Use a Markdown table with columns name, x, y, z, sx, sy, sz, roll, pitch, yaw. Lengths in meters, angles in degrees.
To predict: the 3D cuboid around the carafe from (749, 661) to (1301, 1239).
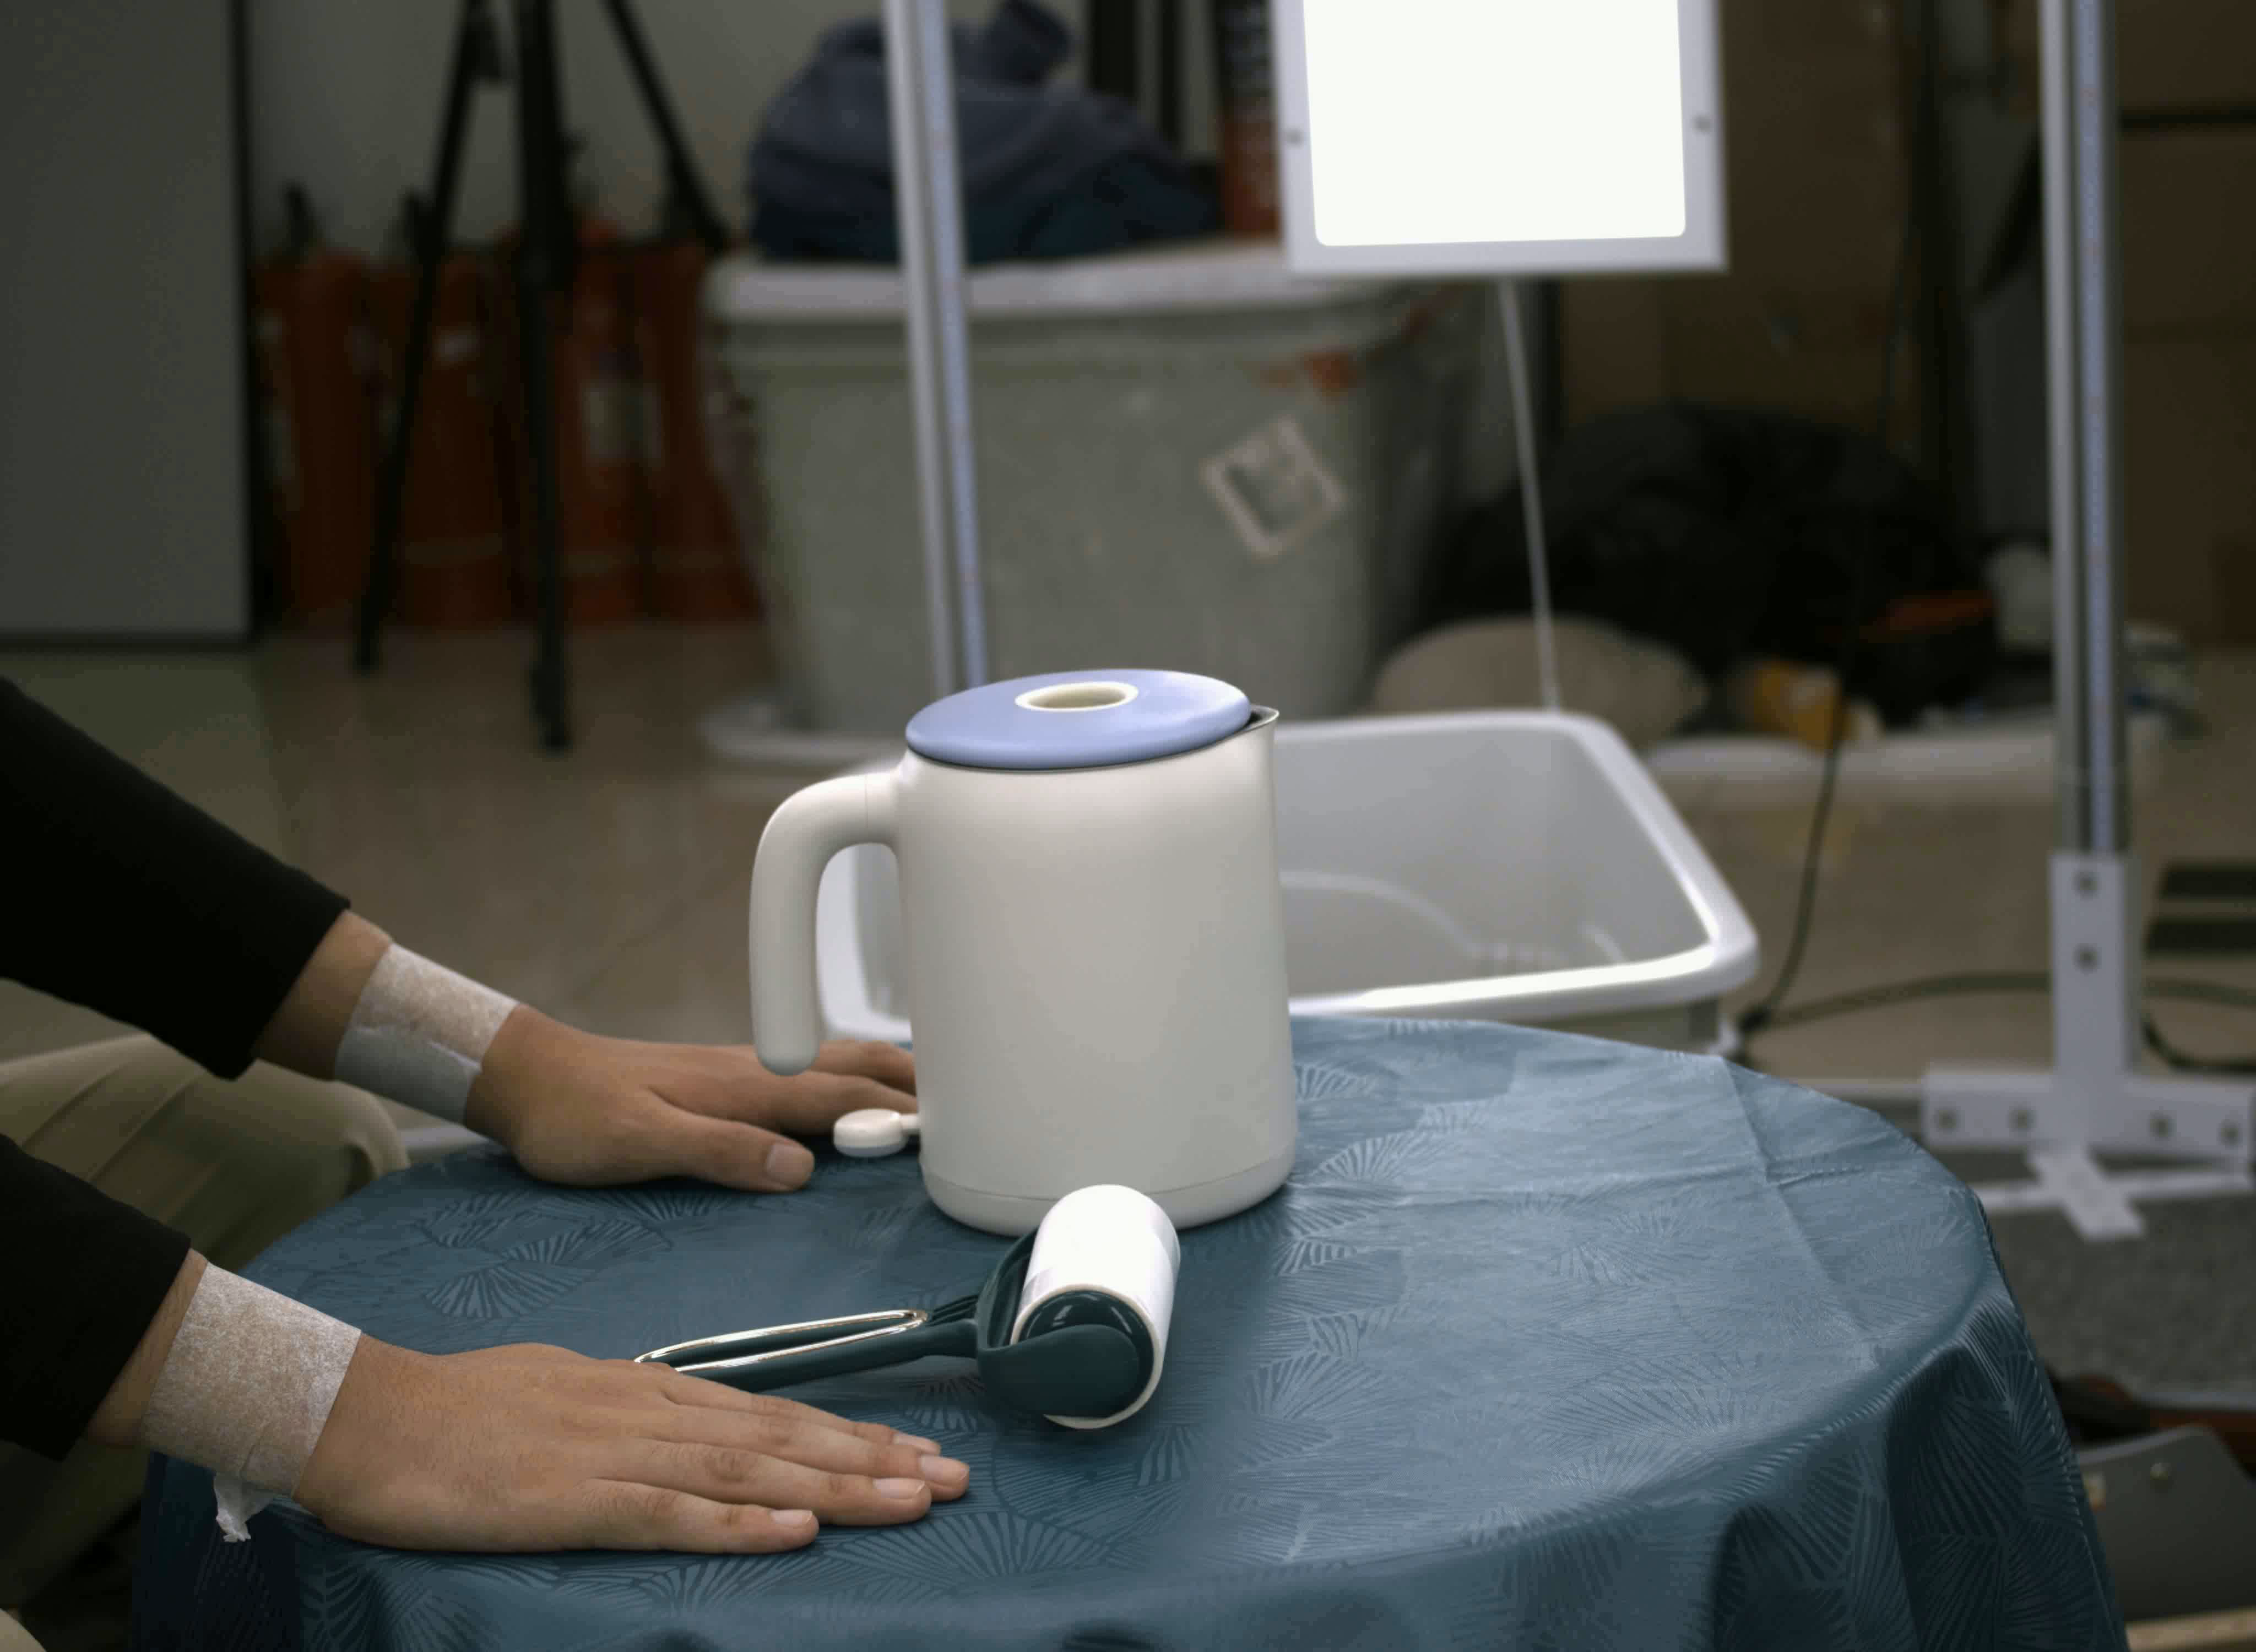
| name | x | y | z | sx | sy | sz | roll | pitch | yaw |
| --- | --- | --- | --- | --- | --- | --- | --- | --- | --- |
| carafe | -0.035 | 0.045 | 1.884 | 0.191 | 0.183 | 0.132 | -7 | 13 | 1 |

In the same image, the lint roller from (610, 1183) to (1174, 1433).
| name | x | y | z | sx | sy | sz | roll | pitch | yaw |
| --- | --- | --- | --- | --- | --- | --- | --- | --- | --- |
| lint roller | -0.077 | 0.156 | 1.721 | 0.181 | 0.048 | 0.133 | -7 | 13 | 7 |
